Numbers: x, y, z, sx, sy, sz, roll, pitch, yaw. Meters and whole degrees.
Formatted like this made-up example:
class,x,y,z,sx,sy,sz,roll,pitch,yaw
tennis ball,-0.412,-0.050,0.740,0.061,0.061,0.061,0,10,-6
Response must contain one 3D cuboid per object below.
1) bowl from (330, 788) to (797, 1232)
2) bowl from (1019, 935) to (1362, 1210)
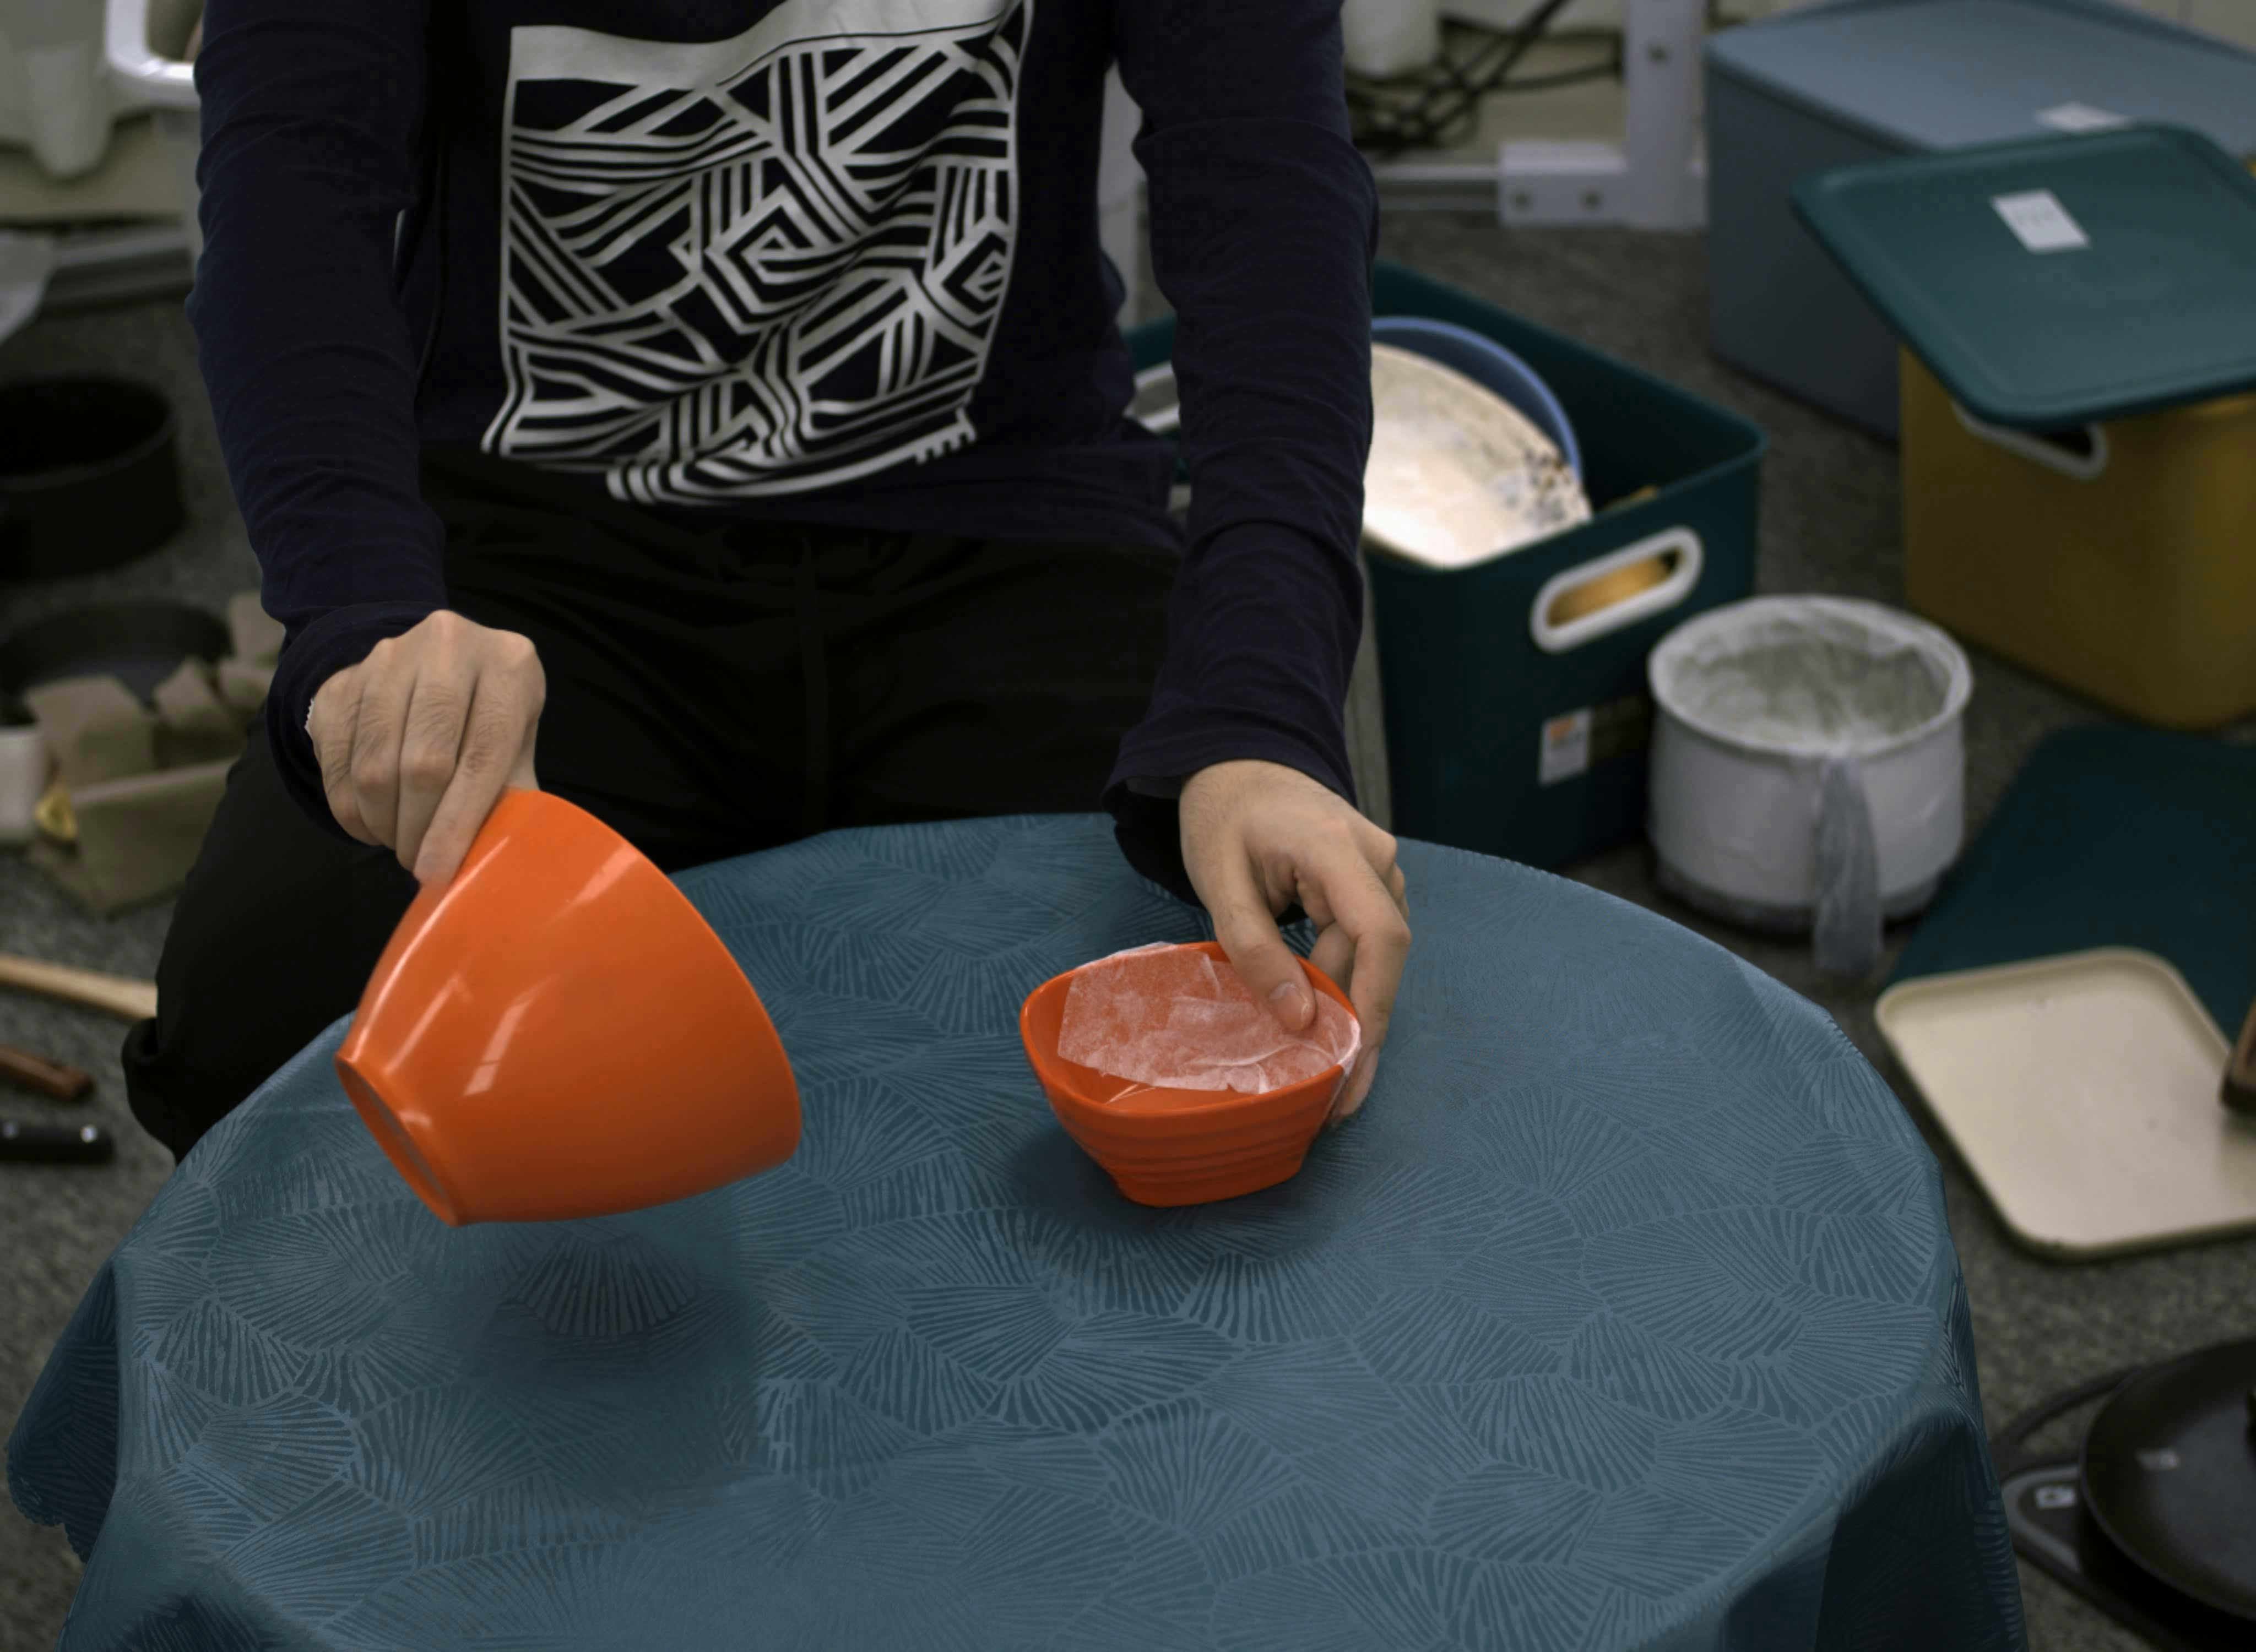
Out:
class,x,y,z,sx,sy,sz,roll,pitch,yaw
bowl,-0.187,0.072,1.761,0.105,0.146,0.148,-37,38,-18
bowl,0.022,0.086,1.872,0.118,0.051,0.121,-3,28,2
